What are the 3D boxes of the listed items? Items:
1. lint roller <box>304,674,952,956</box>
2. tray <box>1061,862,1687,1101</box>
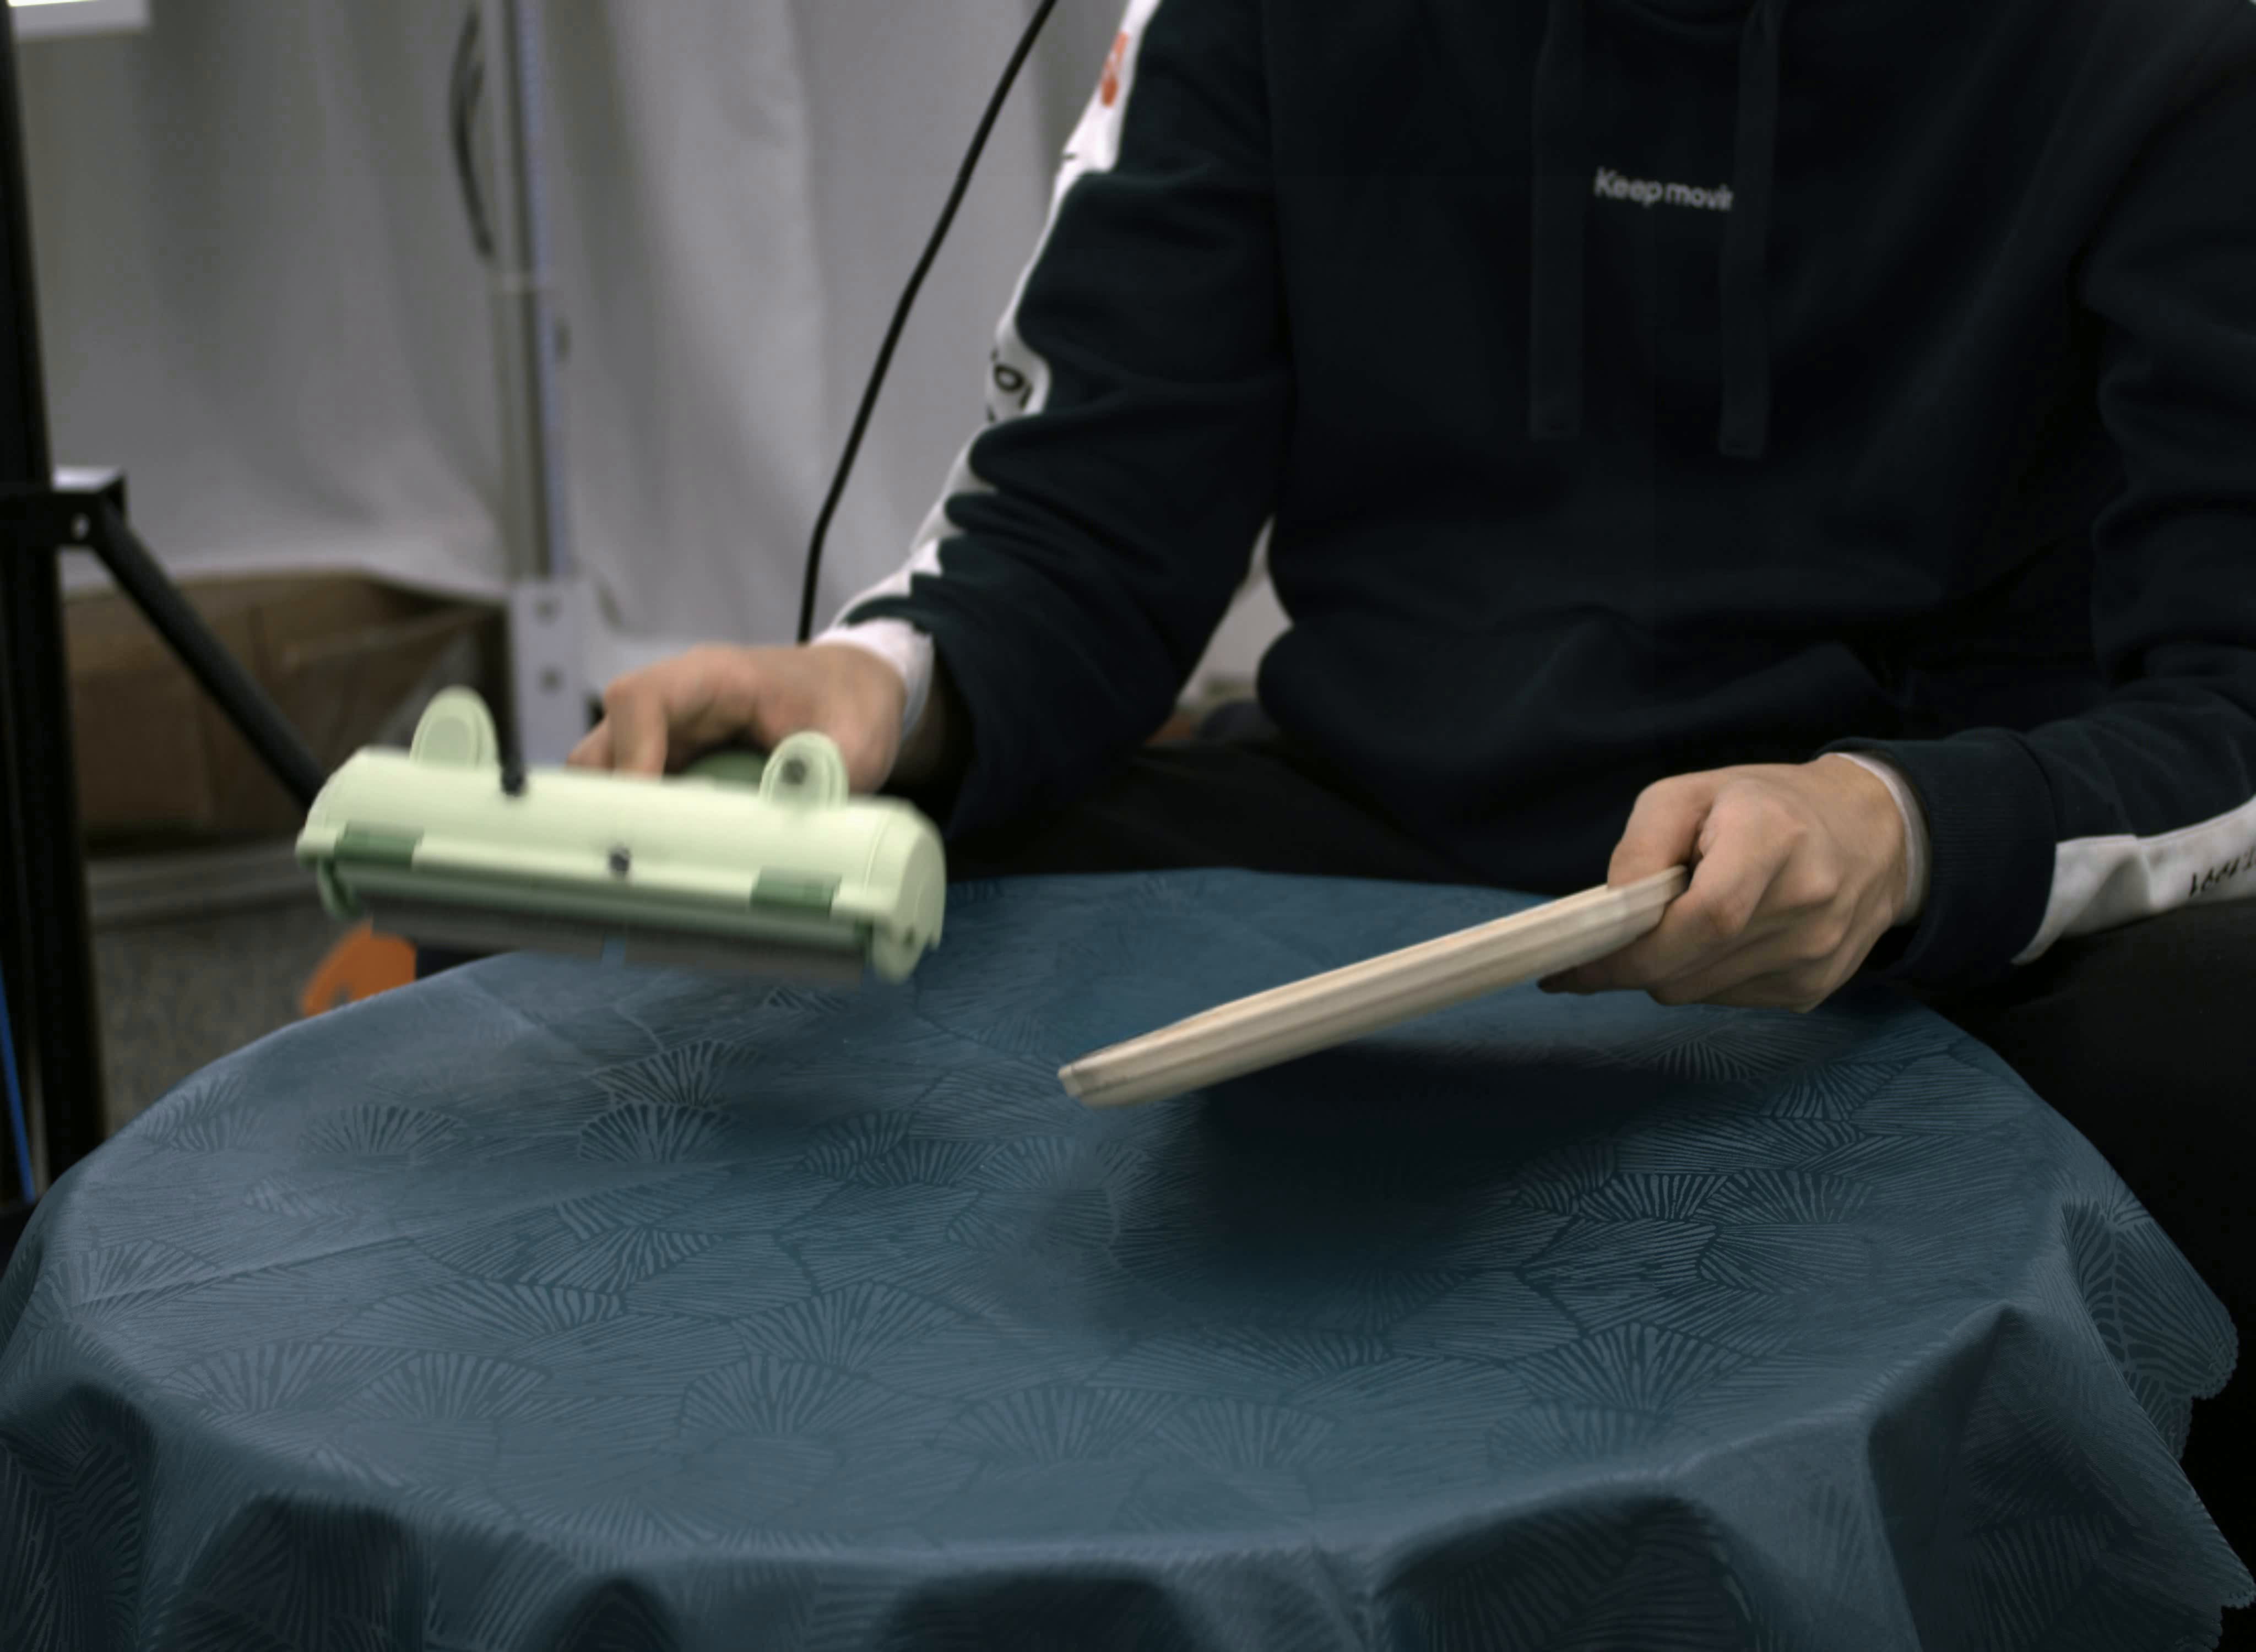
[{"bbox_3d":[-0.138,-0.020,1.696,0.200,0.082,0.182,5,22,17],"label":"lint roller"},{"bbox_3d":[0.078,0.046,1.560,0.172,0.017,0.237,-18,-2,11],"label":"tray"}]
